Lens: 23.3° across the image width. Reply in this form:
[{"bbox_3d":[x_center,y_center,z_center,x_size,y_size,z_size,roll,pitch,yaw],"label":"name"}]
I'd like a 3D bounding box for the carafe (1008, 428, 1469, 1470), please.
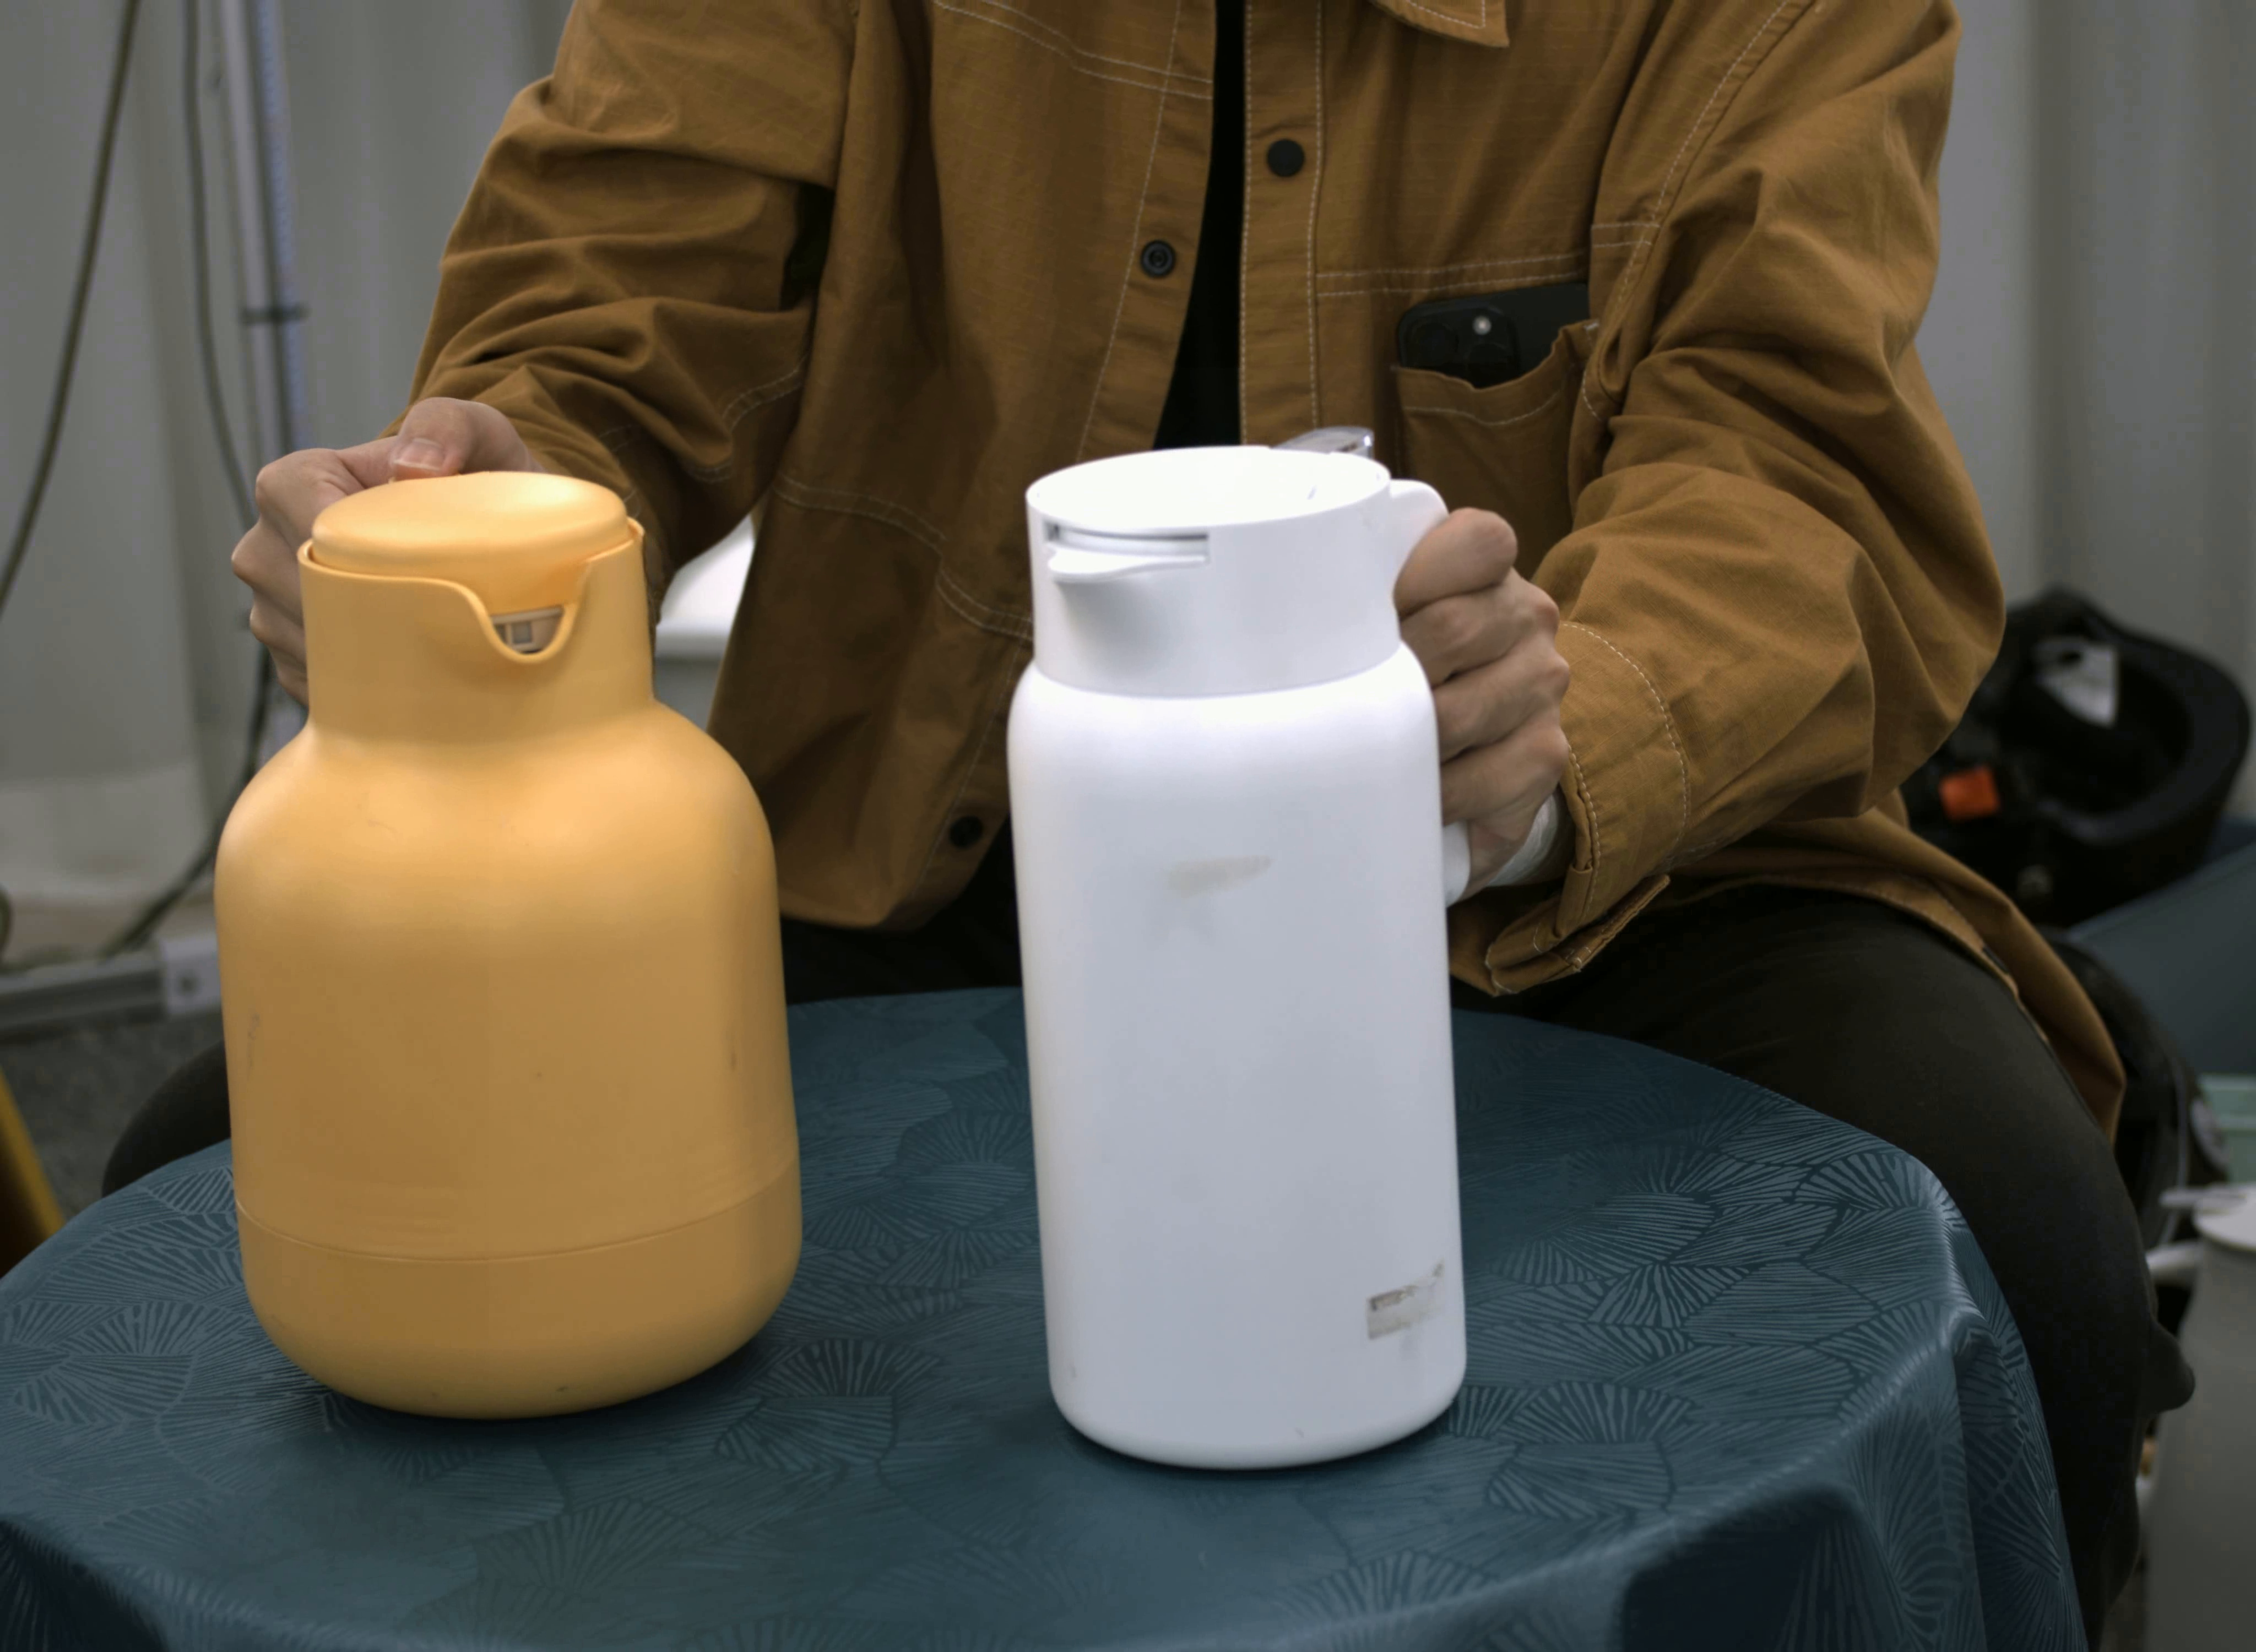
[{"bbox_3d":[0.038,0.029,1.510,0.124,0.268,0.173,4,16,34],"label":"carafe"}]

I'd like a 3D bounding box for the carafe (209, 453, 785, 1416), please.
[{"bbox_3d":[-0.185,0.023,1.585,0.162,0.259,0.204,-4,16,-16],"label":"carafe"}]
